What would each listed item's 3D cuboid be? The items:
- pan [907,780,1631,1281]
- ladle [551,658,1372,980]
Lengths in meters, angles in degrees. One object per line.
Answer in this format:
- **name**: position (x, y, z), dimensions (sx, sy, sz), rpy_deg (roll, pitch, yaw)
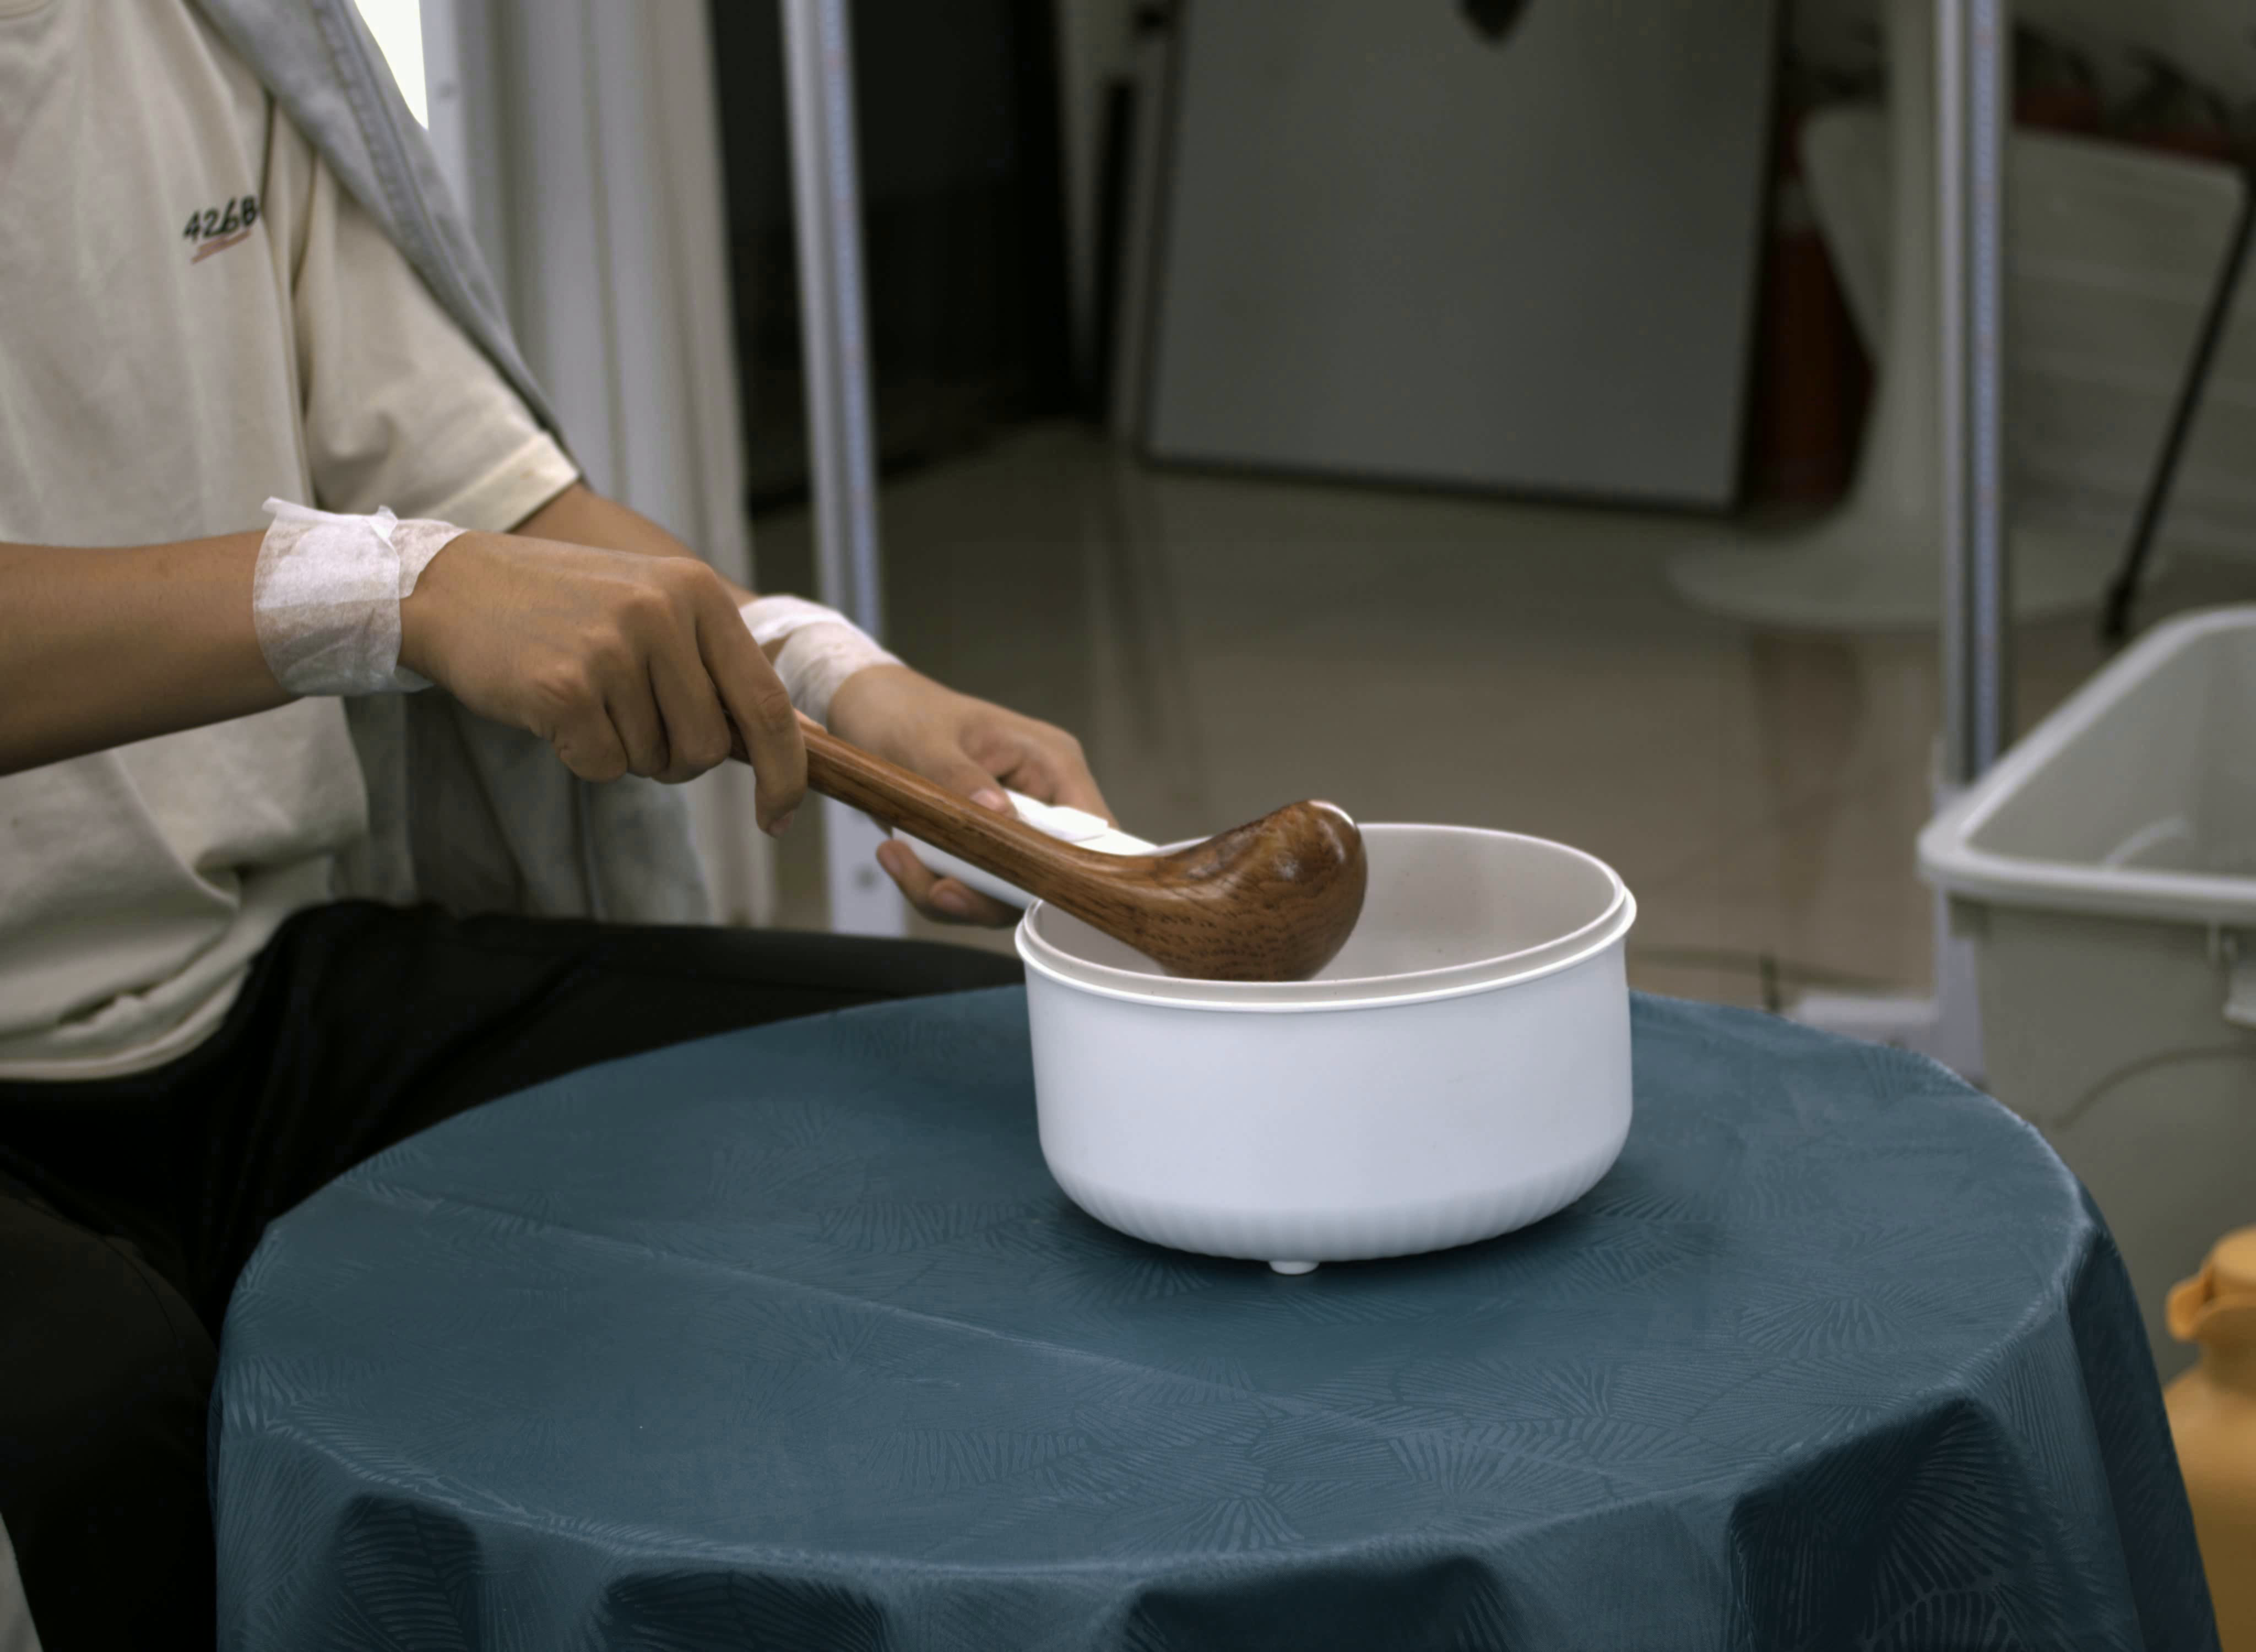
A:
- **pan**: position (0.026, 0.061, 1.807), dimensions (0.197, 0.103, 0.358), rpy_deg (-13, 15, -28)
- **ladle**: position (-0.051, -0.014, 1.764), dimensions (0.272, 0.083, 0.076), rpy_deg (21, 24, 3)
